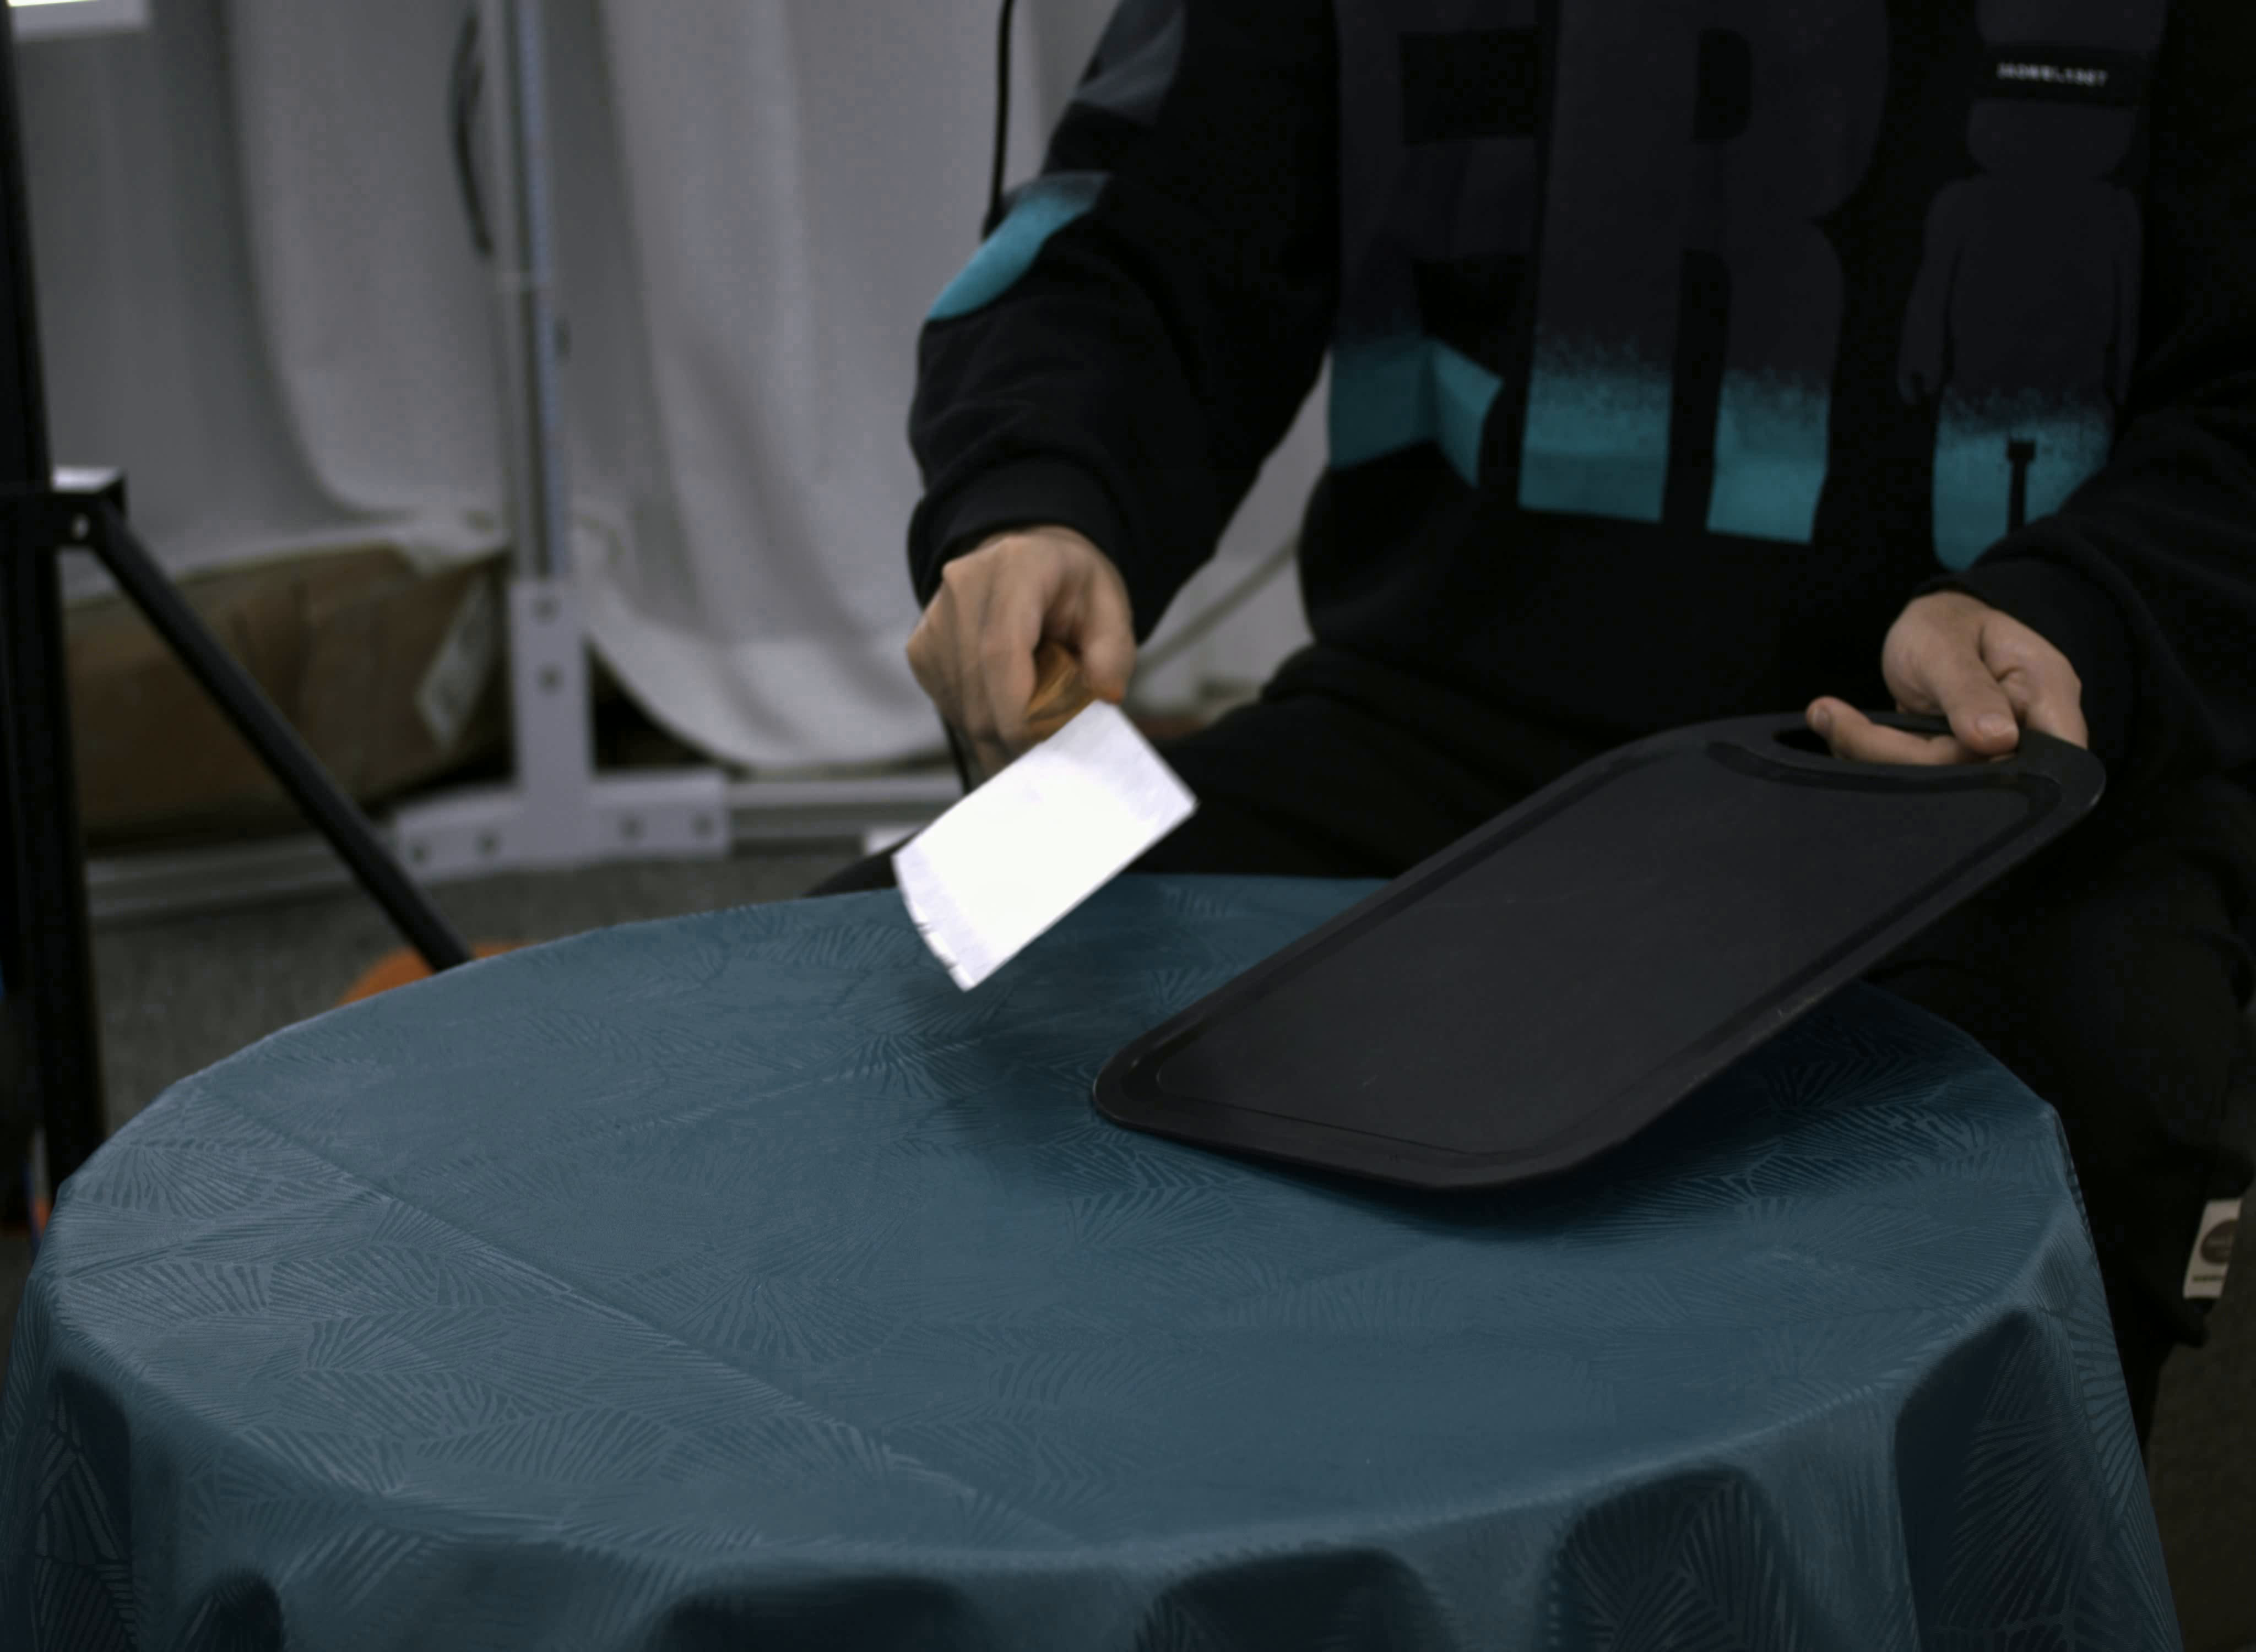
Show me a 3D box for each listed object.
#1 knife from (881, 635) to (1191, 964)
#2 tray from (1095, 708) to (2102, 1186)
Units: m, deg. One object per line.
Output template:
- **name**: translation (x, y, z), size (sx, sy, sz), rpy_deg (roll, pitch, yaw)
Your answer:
- **knife**: translation (-0.040, -0.008, 1.743), size (0.093, 0.021, 0.309), rpy_deg (-37, 15, 0)
- **tray**: translation (0.153, 0.029, 1.655), size (0.320, 0.010, 0.216), rpy_deg (-30, 24, -34)
